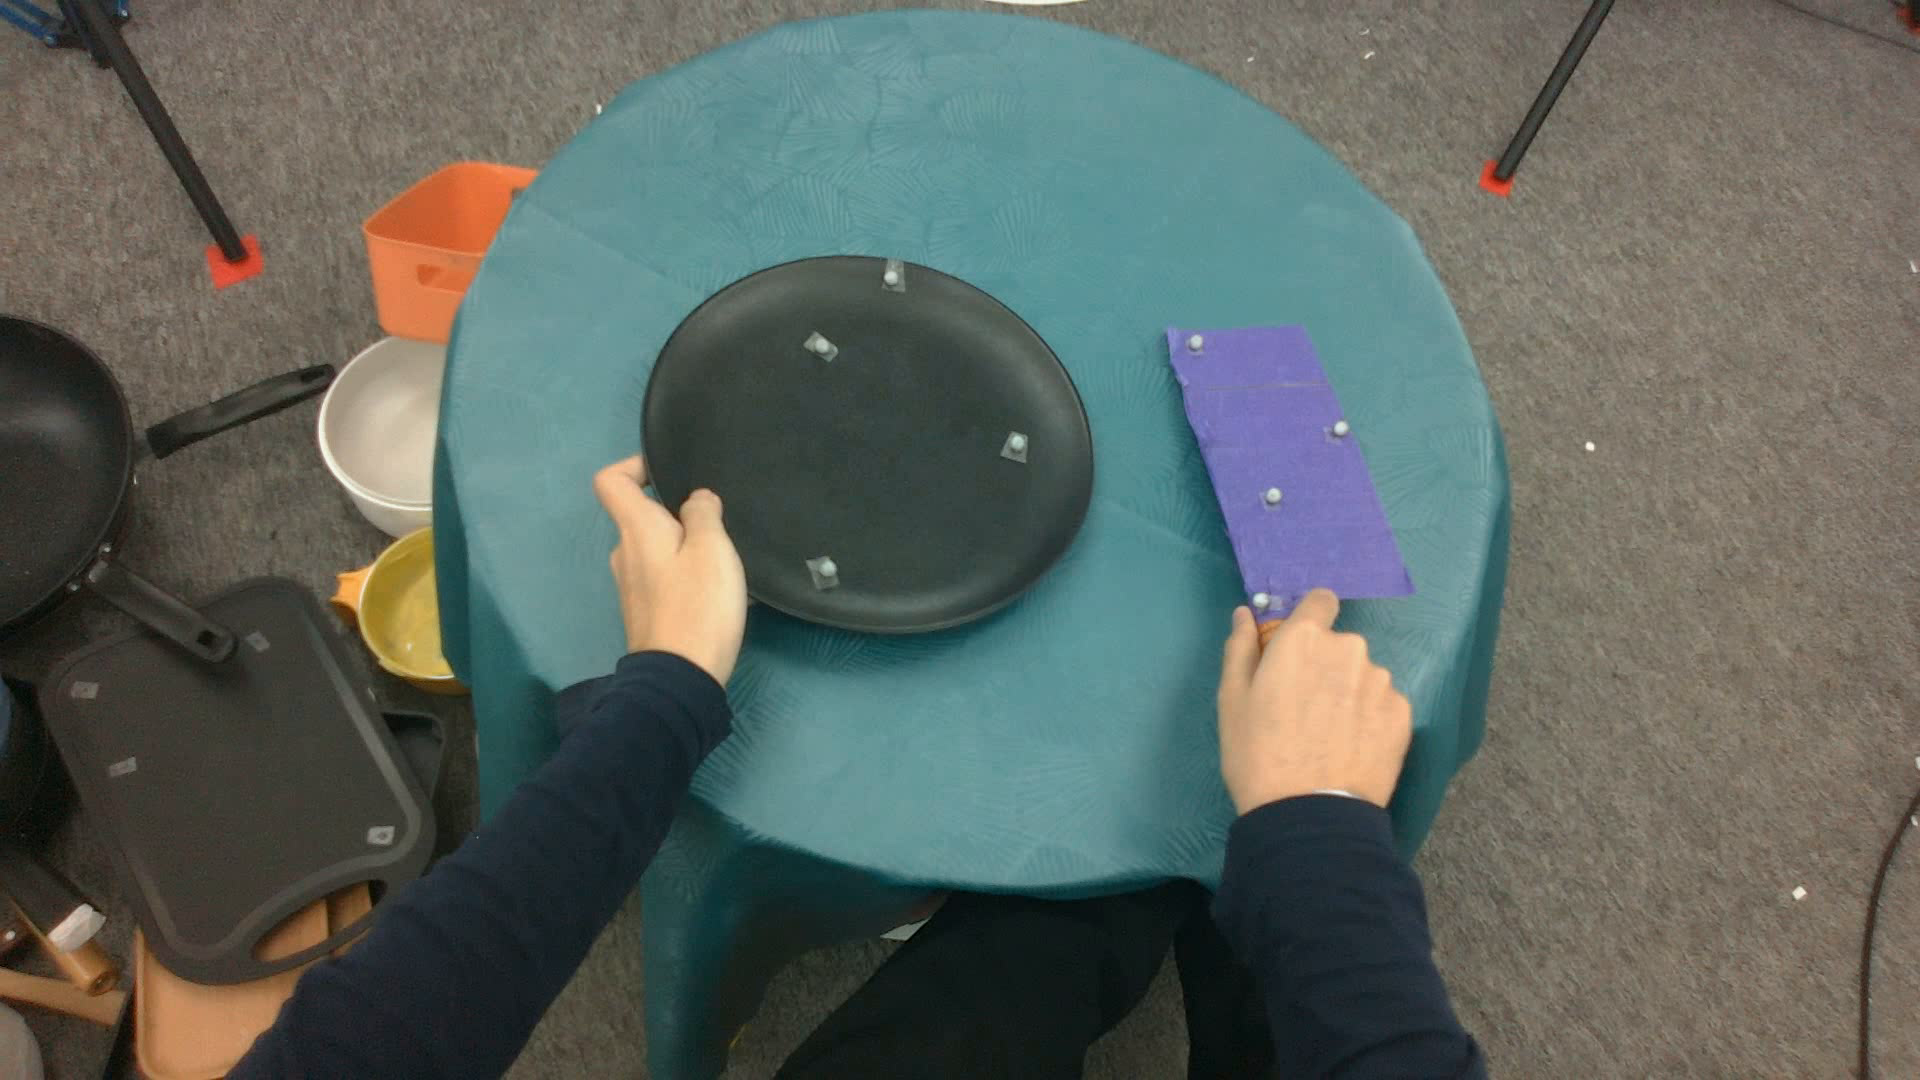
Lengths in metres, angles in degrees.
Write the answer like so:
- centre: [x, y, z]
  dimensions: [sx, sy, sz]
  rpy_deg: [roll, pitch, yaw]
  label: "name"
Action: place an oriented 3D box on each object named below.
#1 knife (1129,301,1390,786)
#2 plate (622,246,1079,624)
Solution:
- centre: [0.174, -0.019, 0.735]
  dimensions: [0.104, 0.032, 0.316]
  rpy_deg: [-3, 54, -10]
  label: "knife"
- centre: [-0.056, -0.059, 0.740]
  dimensions: [0.244, 0.023, 0.245]
  rpy_deg: [6, 58, -10]
  label: "plate"
